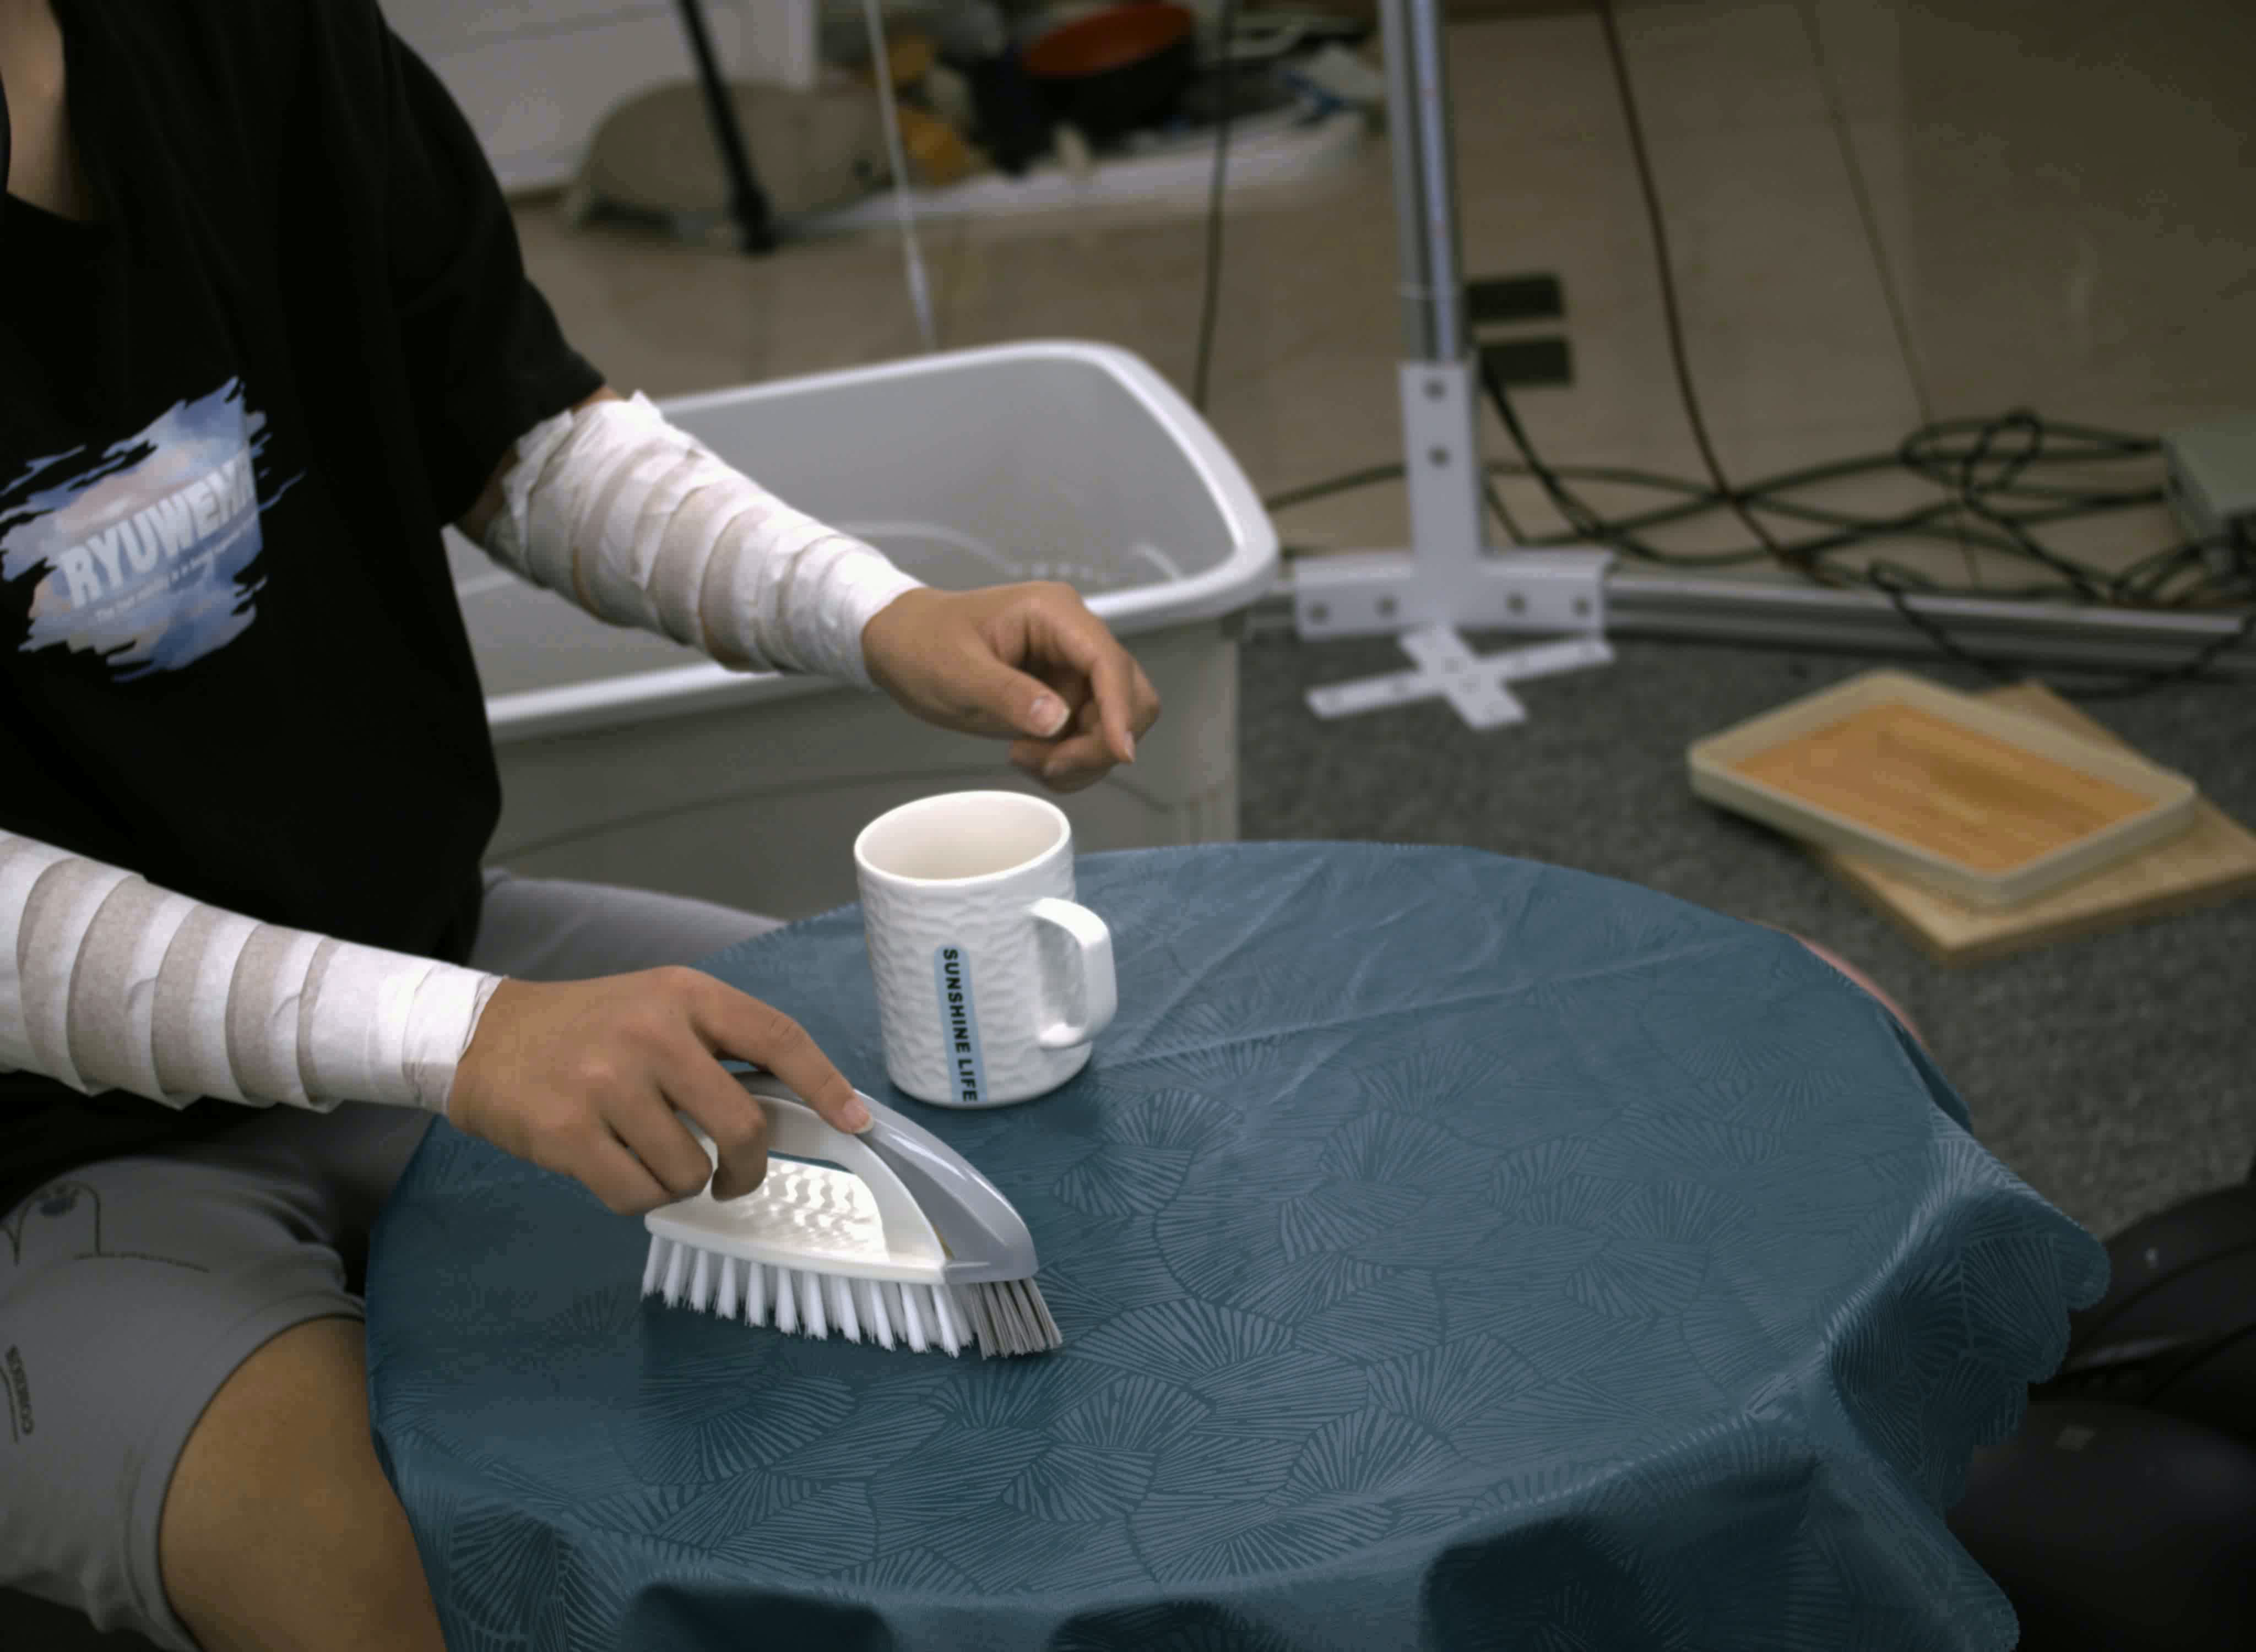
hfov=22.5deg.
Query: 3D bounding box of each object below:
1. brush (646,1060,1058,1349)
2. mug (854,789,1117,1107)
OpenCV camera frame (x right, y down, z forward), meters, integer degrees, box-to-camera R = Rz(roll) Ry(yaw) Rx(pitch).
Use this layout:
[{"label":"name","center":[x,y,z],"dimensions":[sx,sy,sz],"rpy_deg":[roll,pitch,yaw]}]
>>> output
[{"label":"brush","center":[-0.102,0.135,2.073],"dimensions":[0.174,0.096,0.061],"rpy_deg":[13,35,33]},{"label":"mug","center":[-0.049,0.052,2.222],"dimensions":[0.117,0.103,0.084],"rpy_deg":[19,36,42]}]
